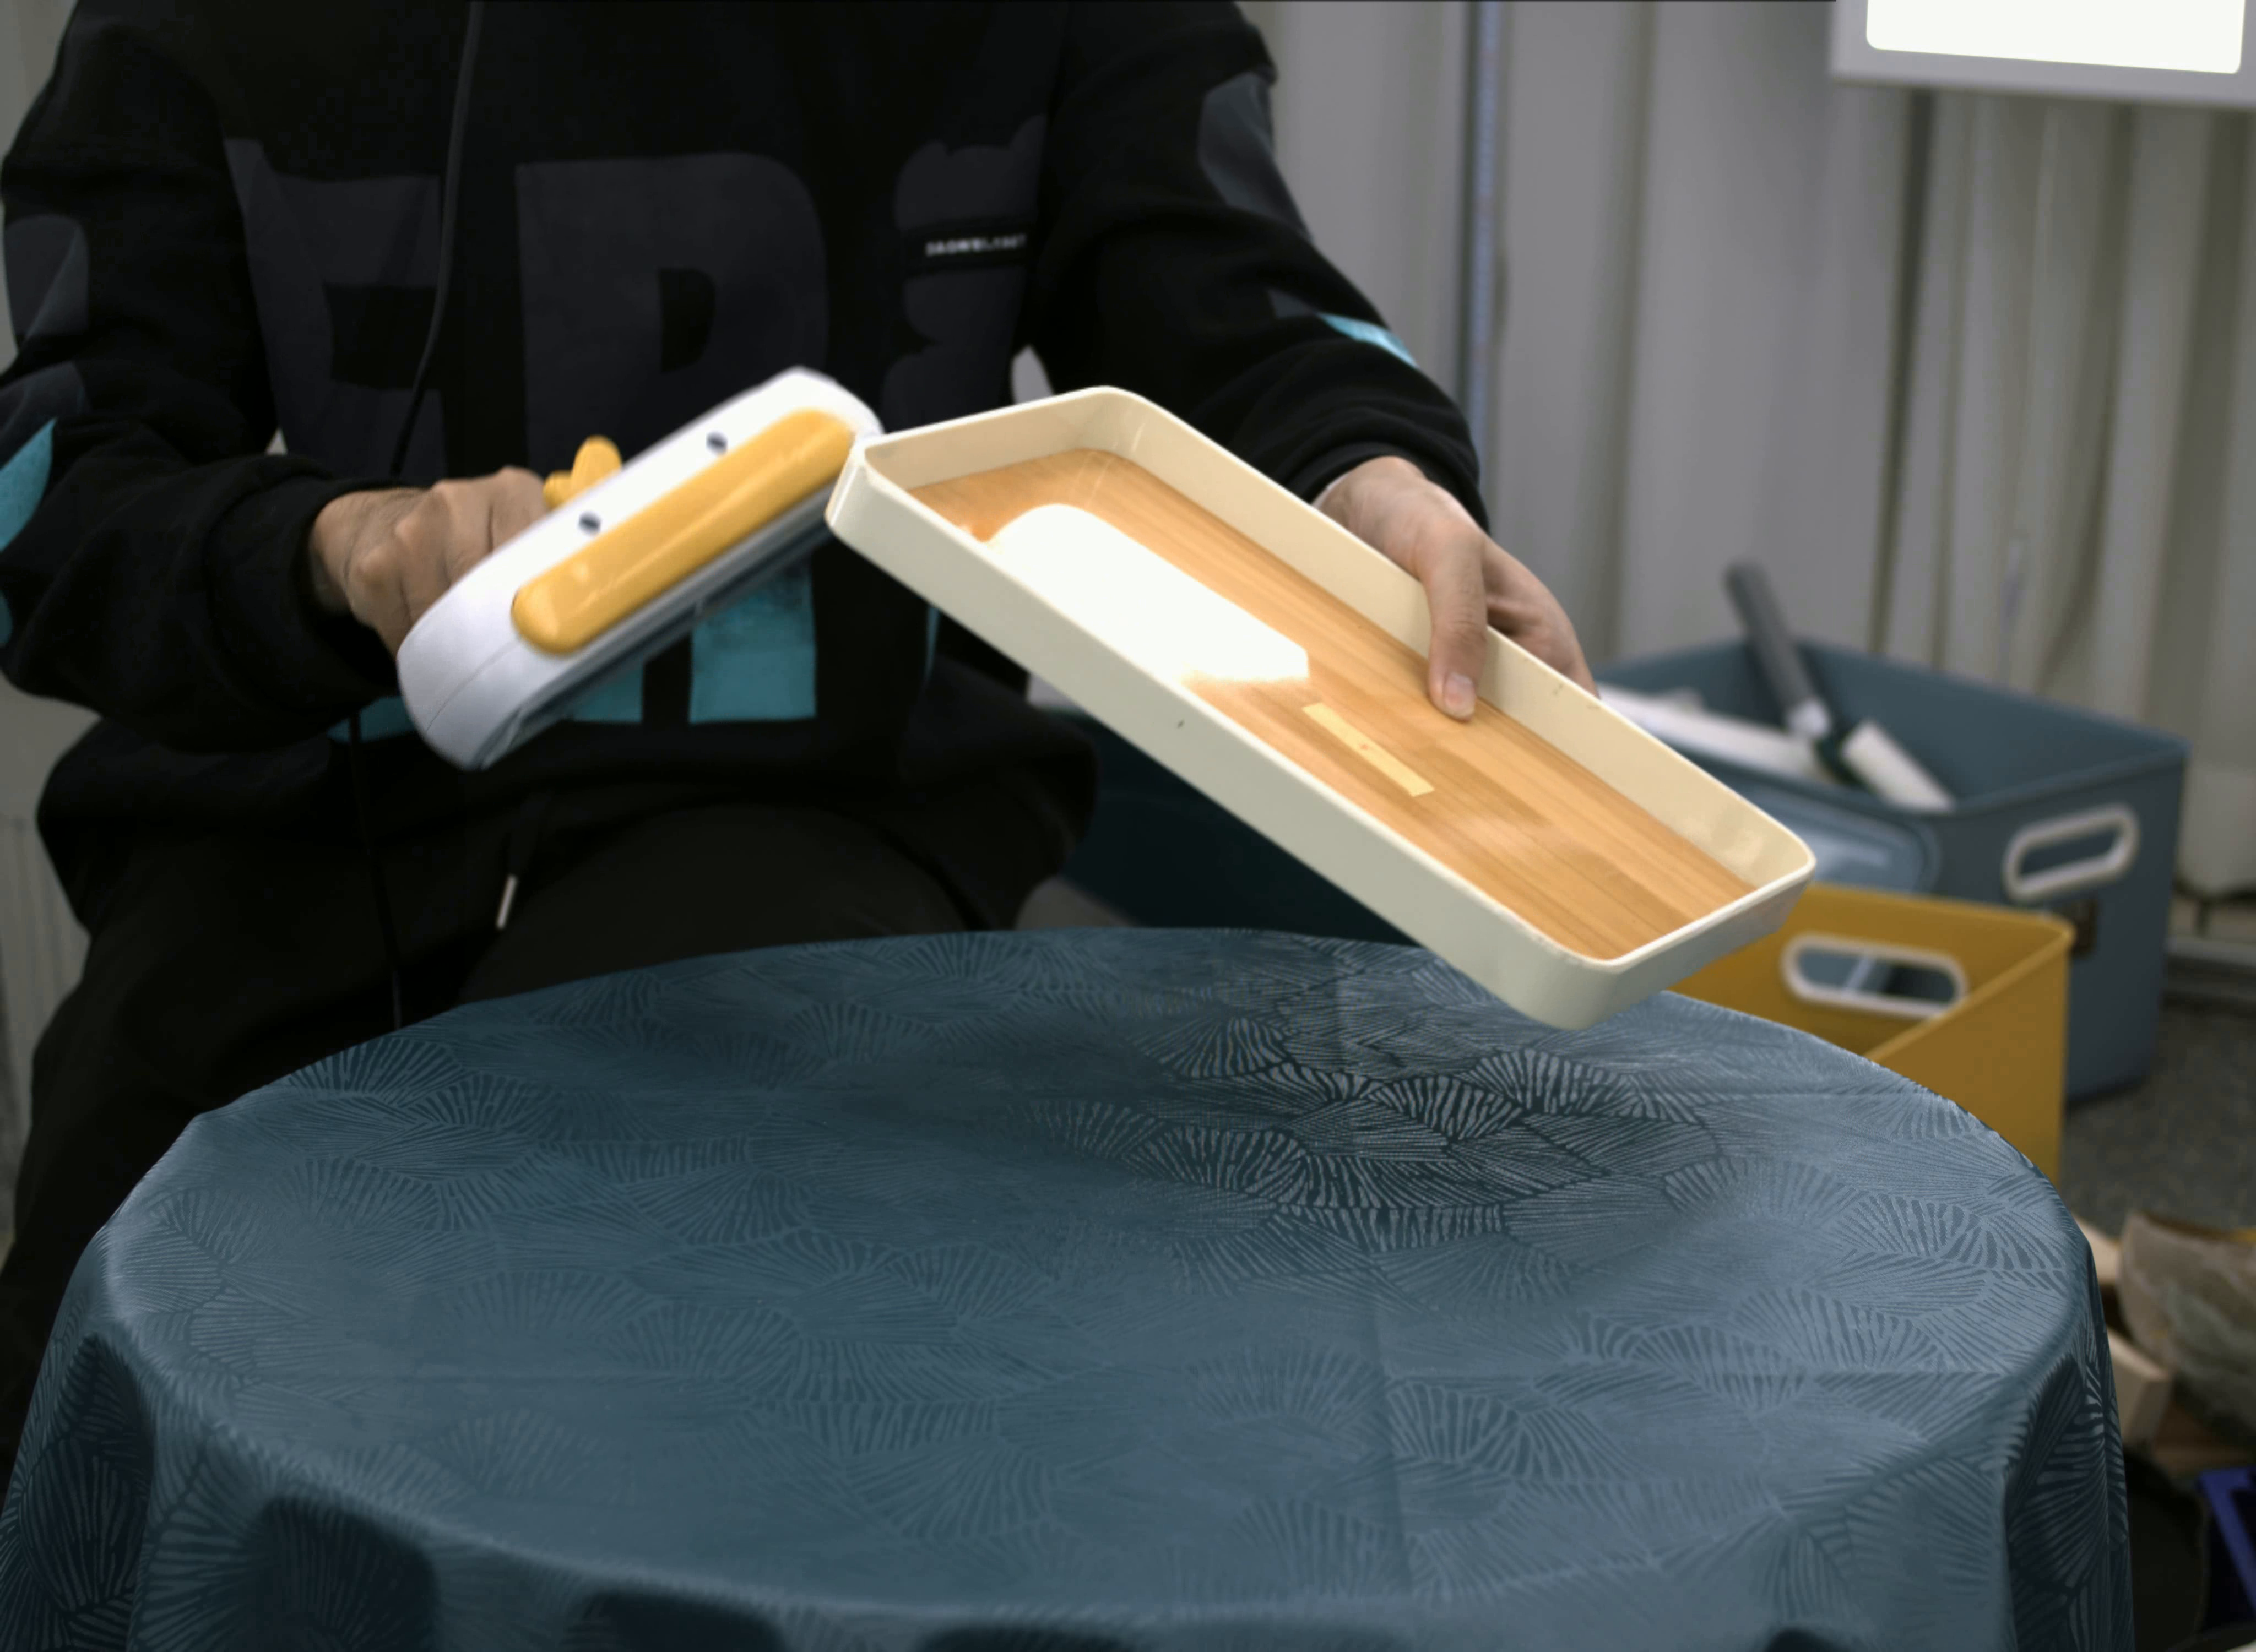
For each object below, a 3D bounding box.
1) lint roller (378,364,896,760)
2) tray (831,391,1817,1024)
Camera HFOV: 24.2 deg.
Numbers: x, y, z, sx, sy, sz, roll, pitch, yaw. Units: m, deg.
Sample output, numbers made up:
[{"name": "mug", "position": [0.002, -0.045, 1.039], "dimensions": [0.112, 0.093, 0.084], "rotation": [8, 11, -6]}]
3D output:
[{"name": "lint roller", "position": [-0.188, -0.075, 1.765], "dimensions": [0.193, 0.074, 0.191], "rotation": [-42, 8, -37]}, {"name": "tray", "position": [0.064, -0.044, 1.672], "dimensions": [0.297, 0.027, 0.192], "rotation": [36, 24, 18]}]
